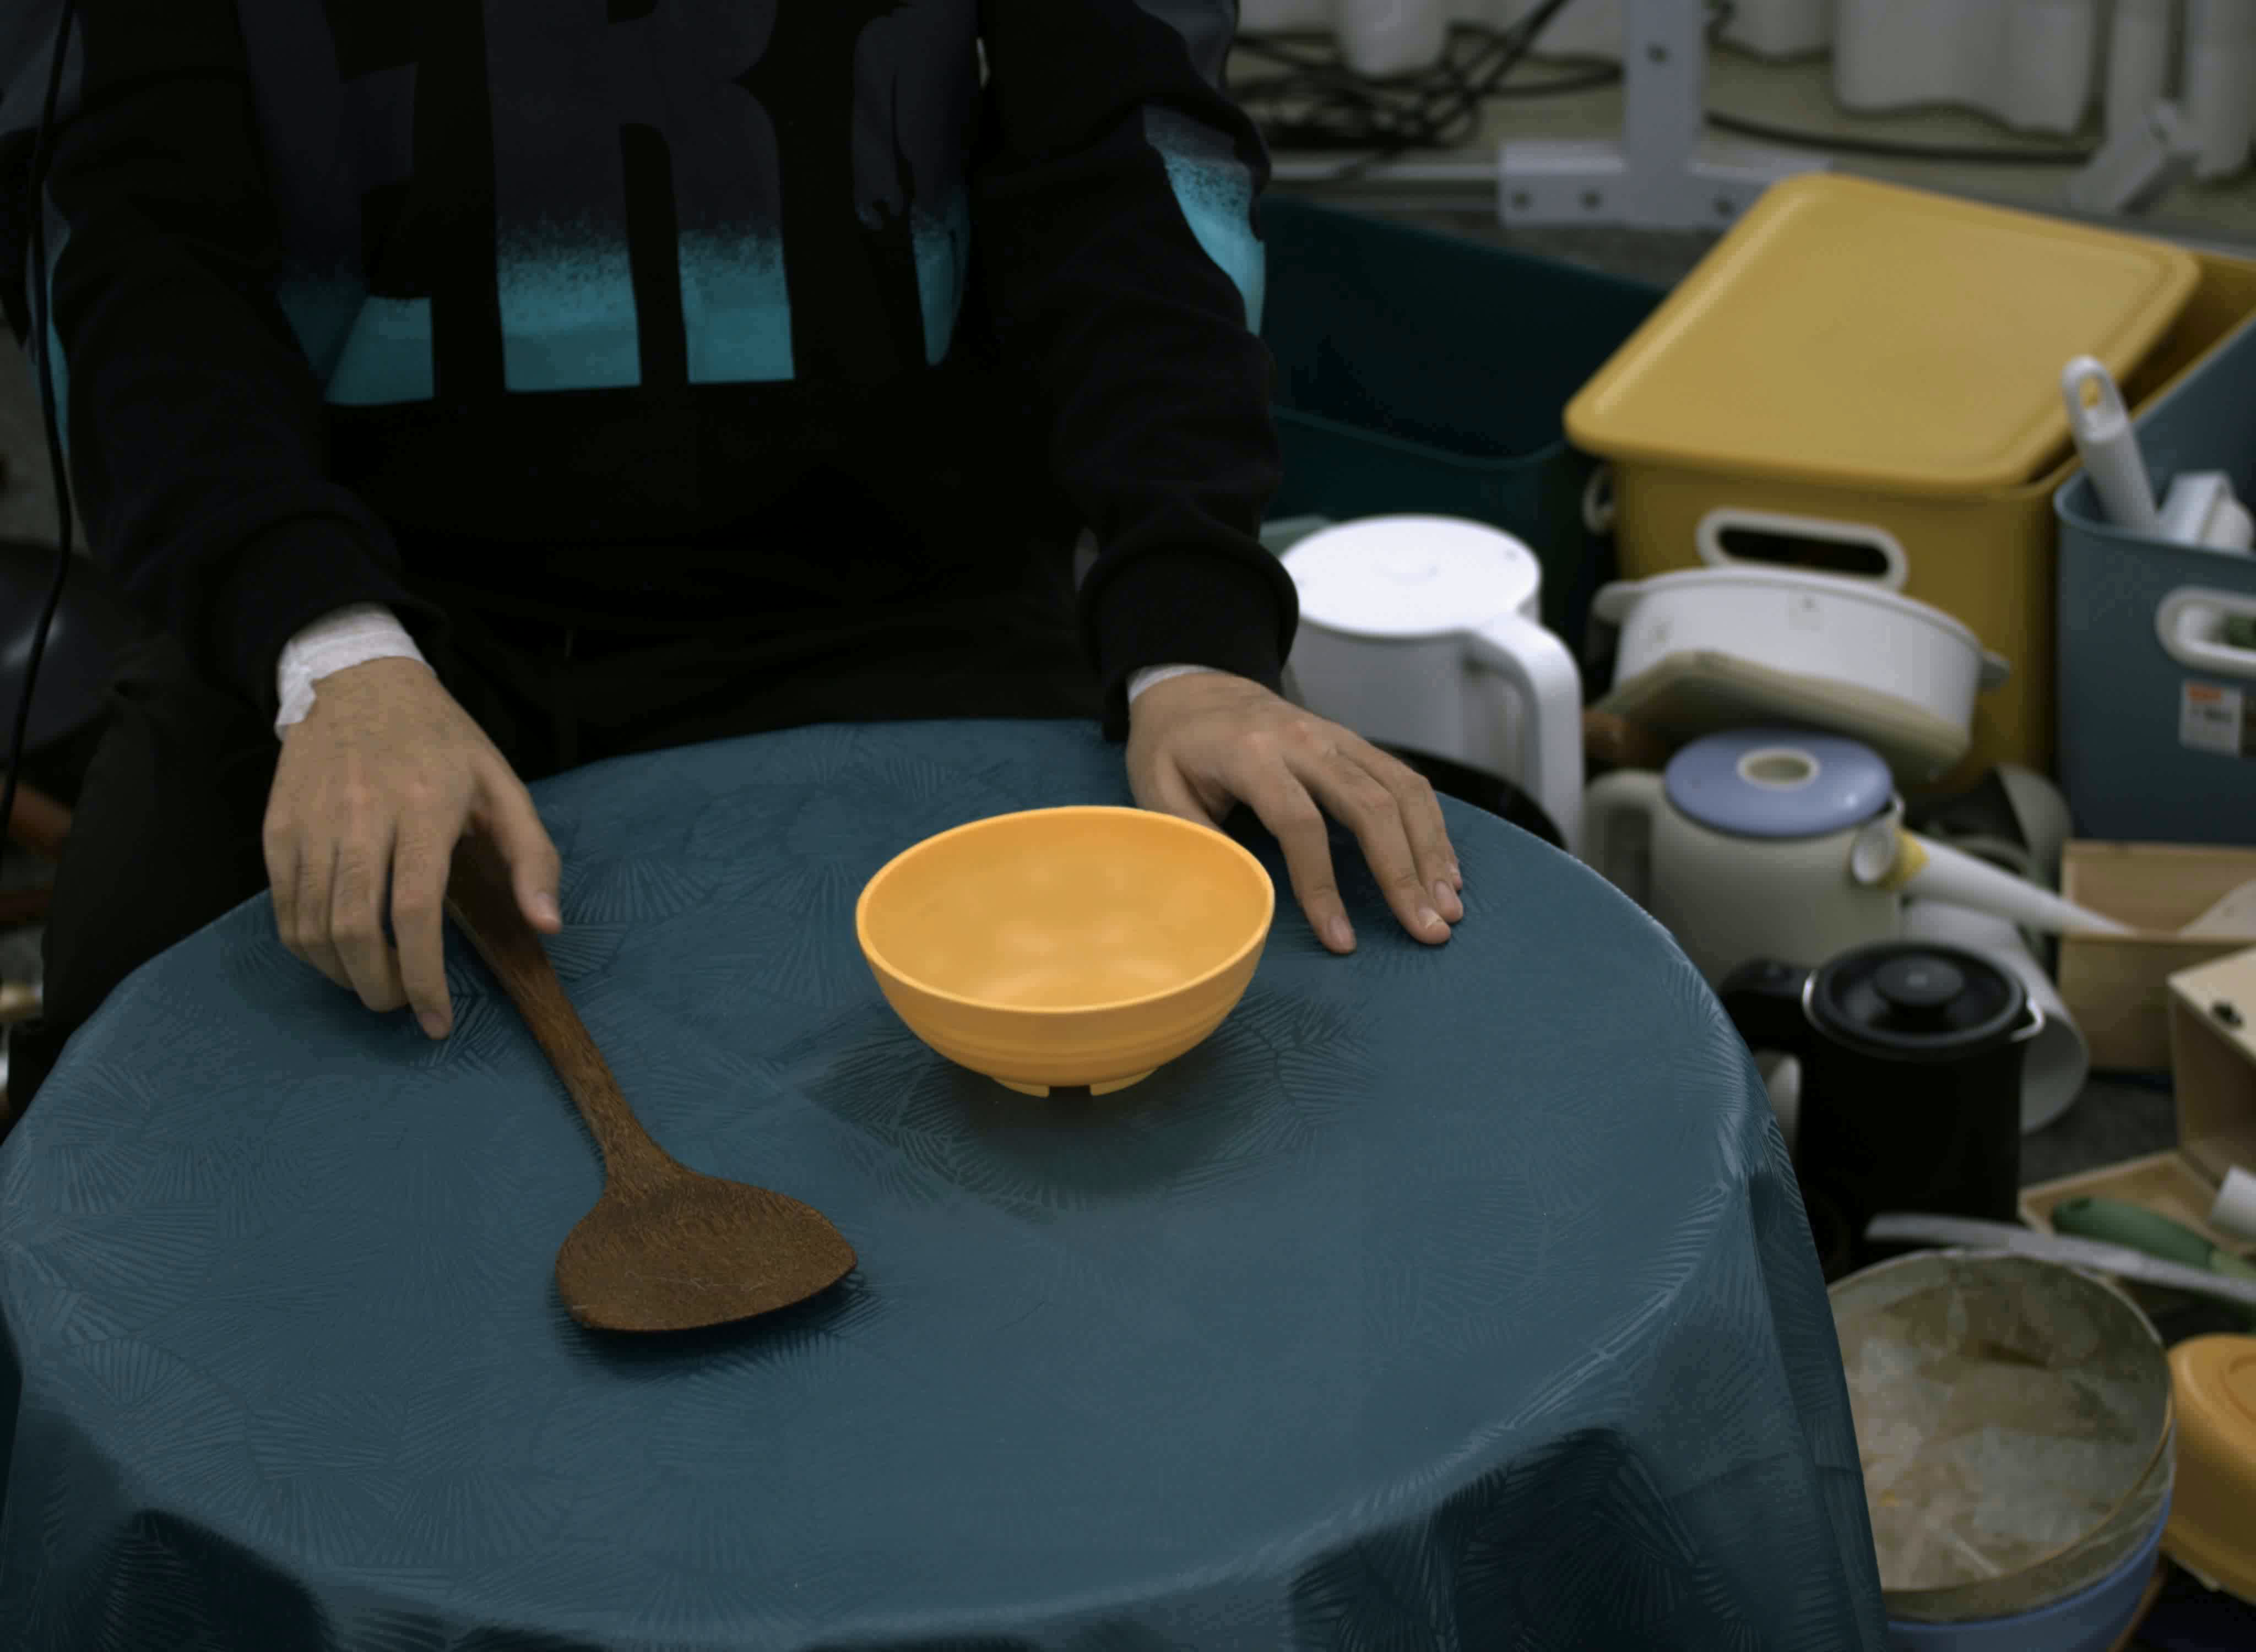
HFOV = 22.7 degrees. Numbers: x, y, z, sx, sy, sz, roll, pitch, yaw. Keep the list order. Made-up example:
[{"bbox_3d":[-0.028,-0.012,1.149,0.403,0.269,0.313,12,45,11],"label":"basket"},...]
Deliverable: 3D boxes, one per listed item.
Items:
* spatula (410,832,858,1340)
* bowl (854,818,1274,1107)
[{"bbox_3d":[-0.191,0.081,1.944,0.096,0.015,0.389,-12,28,-17],"label":"spatula"},{"bbox_3d":[-0.022,0.055,1.934,0.144,0.059,0.147,0,26,0],"label":"bowl"}]
